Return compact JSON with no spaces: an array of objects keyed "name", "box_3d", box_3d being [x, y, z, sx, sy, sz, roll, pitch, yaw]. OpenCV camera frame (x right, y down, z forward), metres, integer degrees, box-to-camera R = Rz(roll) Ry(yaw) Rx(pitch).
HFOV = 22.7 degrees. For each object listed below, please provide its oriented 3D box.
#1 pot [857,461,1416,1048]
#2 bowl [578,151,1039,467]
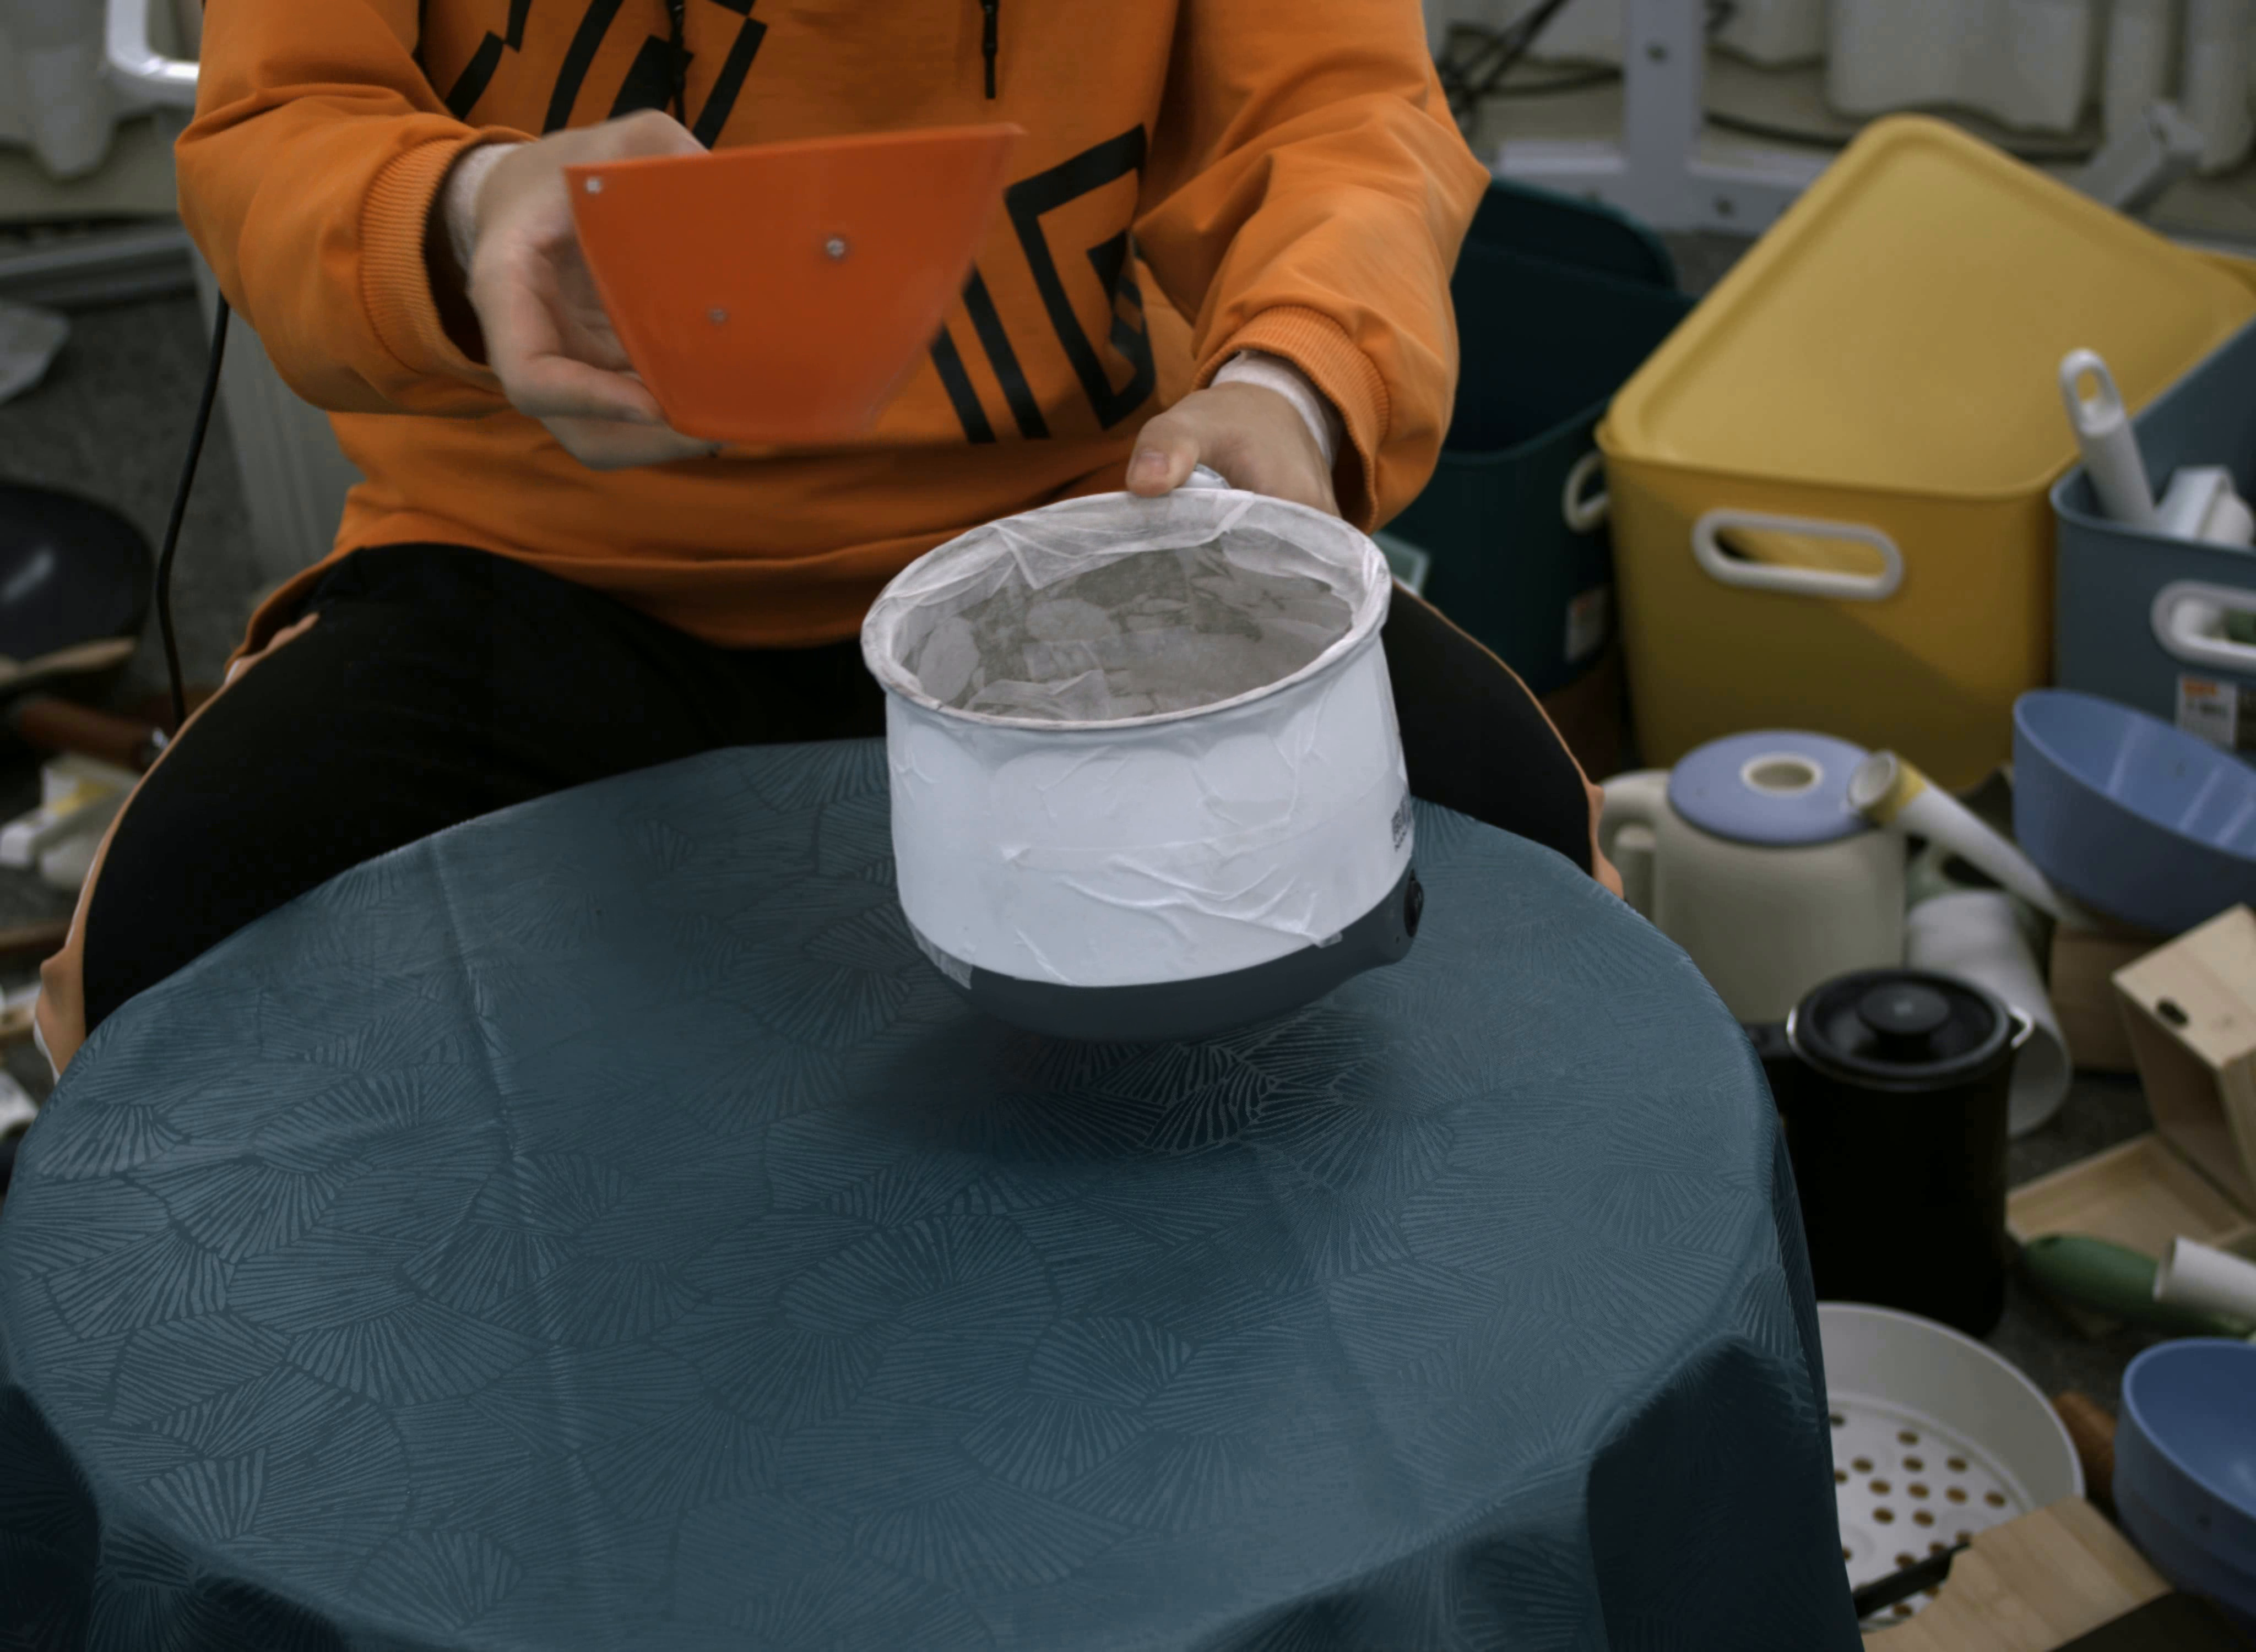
[{"name":"pot","box_3d":[0.010,-0.031,1.917,0.177,0.135,0.238,0,28,13]},{"name":"bowl","box_3d":[-0.103,-0.170,1.805,0.147,0.104,0.149,2,11,0]}]
